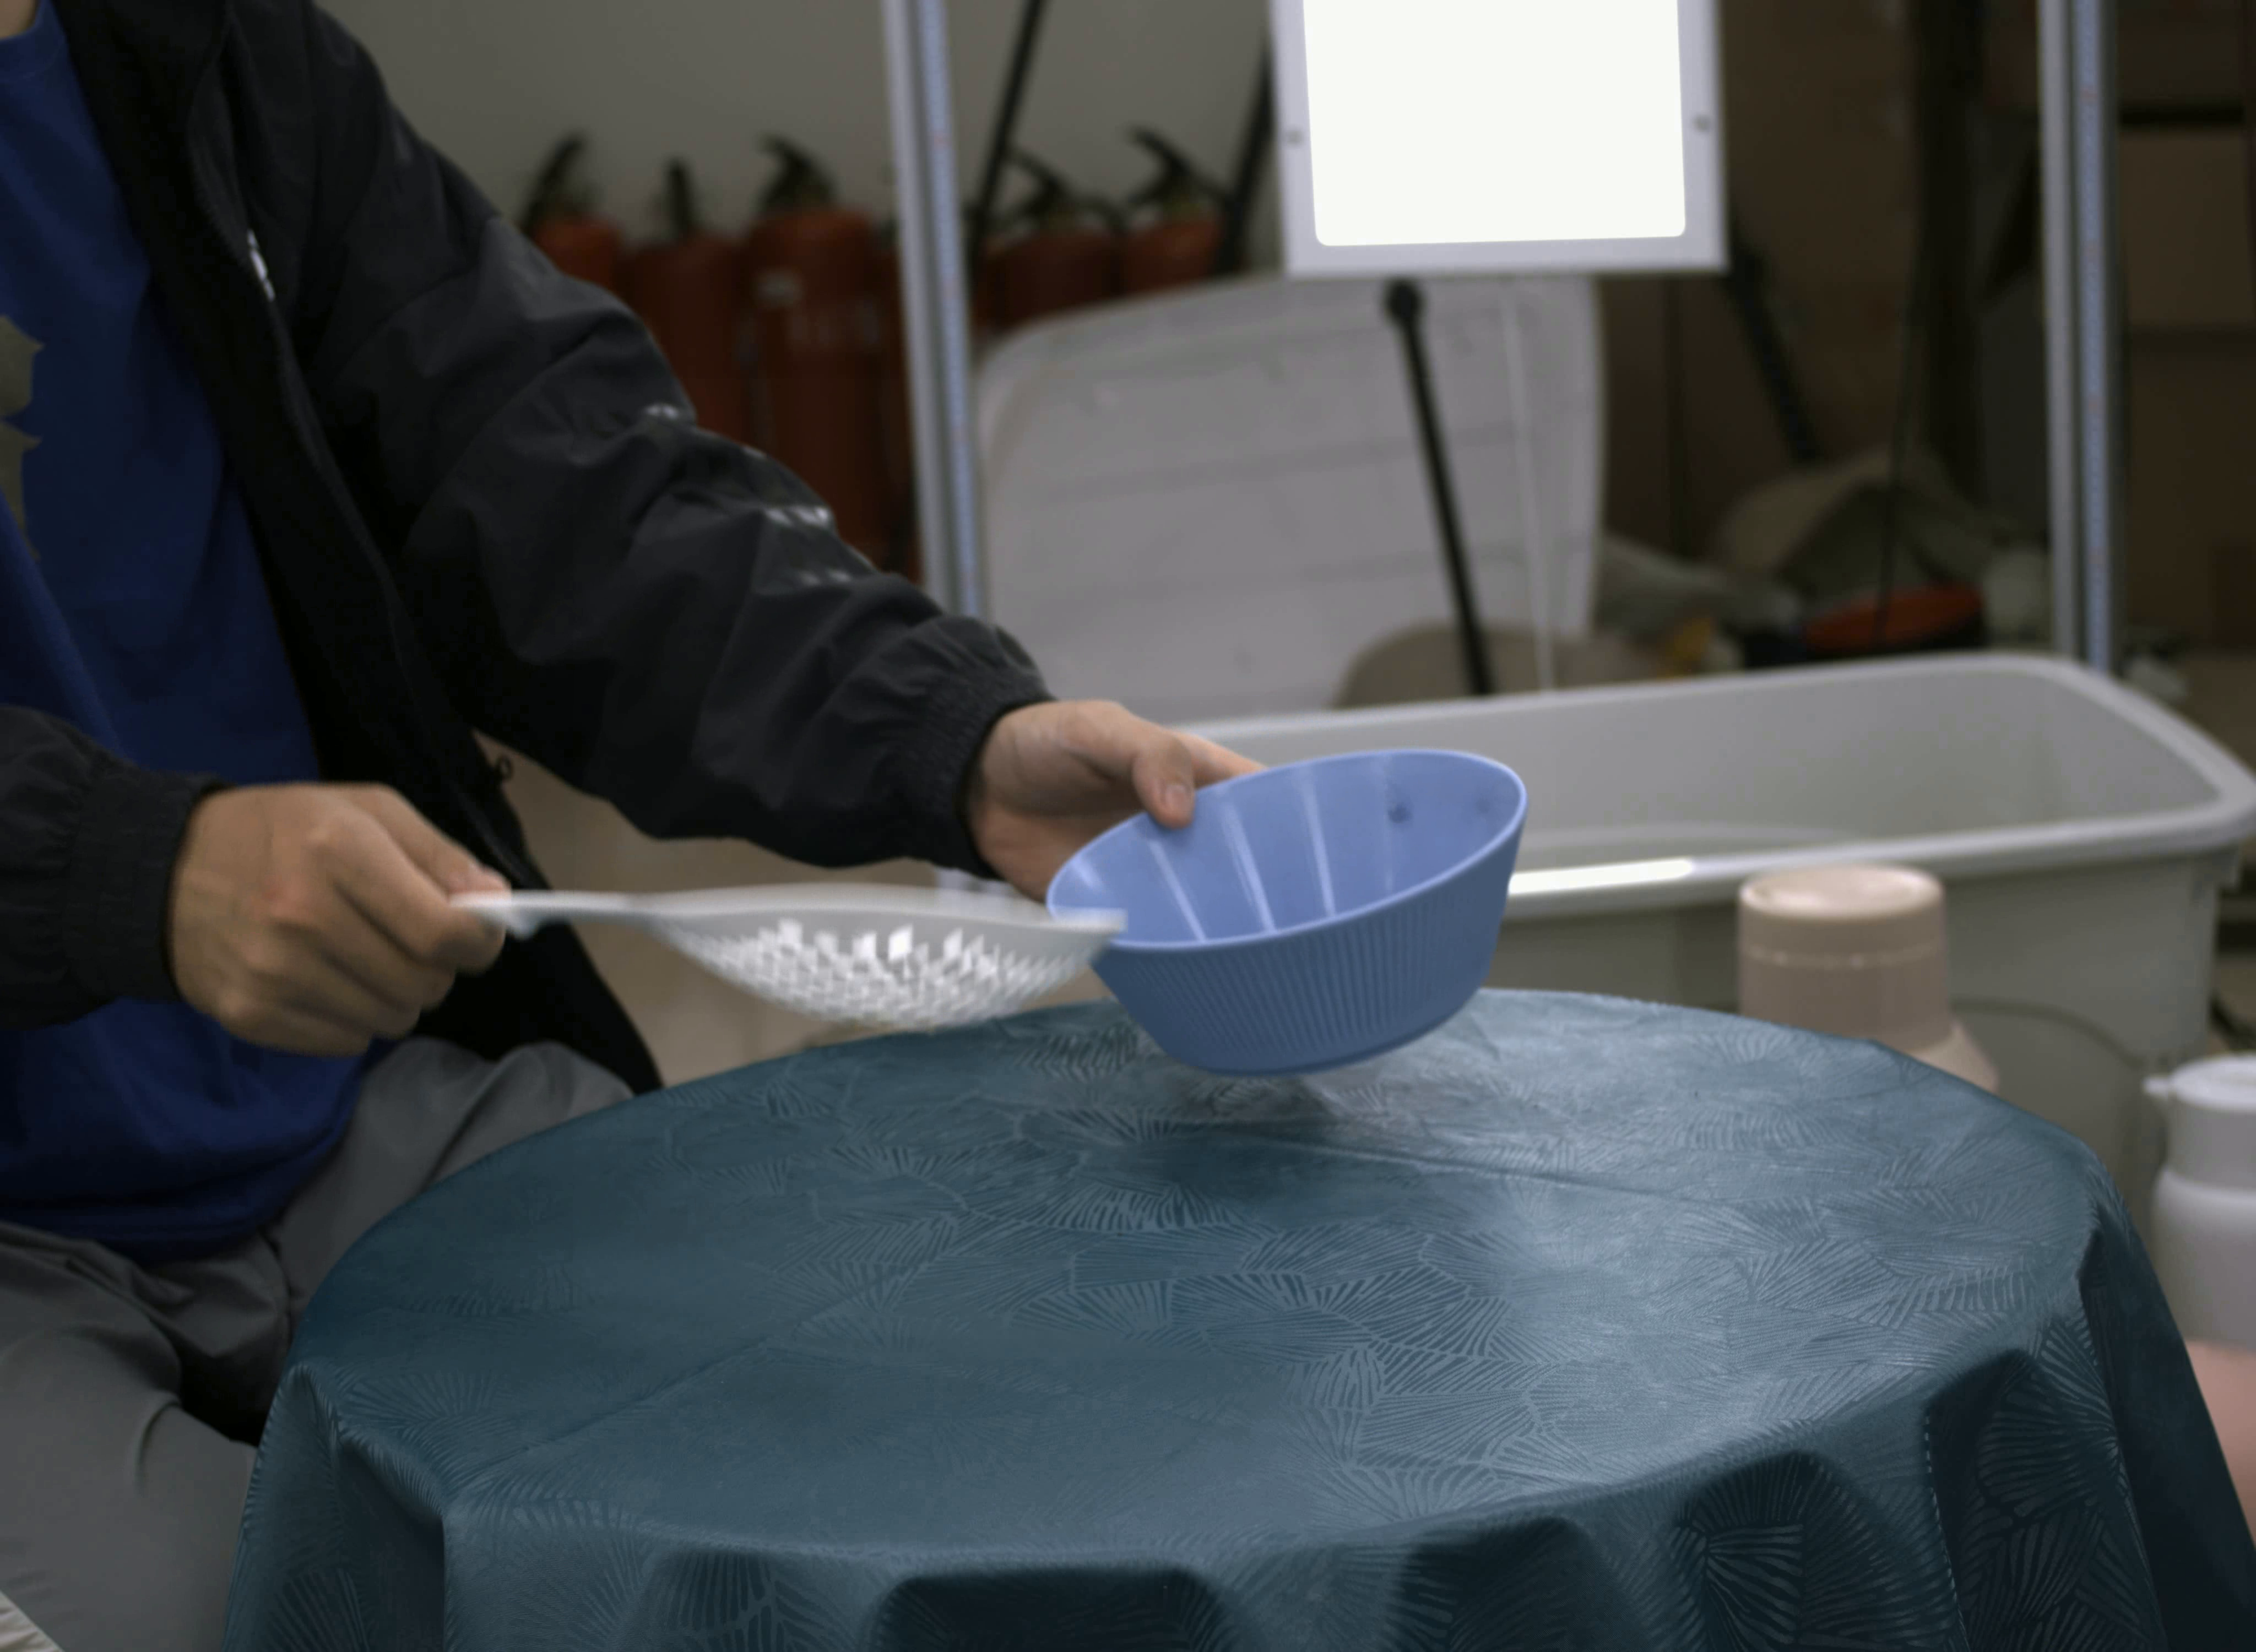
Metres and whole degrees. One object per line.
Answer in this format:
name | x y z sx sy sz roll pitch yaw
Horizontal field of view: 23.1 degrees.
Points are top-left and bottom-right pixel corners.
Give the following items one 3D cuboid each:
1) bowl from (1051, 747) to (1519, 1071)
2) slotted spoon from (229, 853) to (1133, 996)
bowl | 0.061 0.034 1.956 0.176 0.070 0.176 -15 18 3
slotted spoon | -0.158 0.031 1.805 0.355 0.050 0.133 2 -1 36
